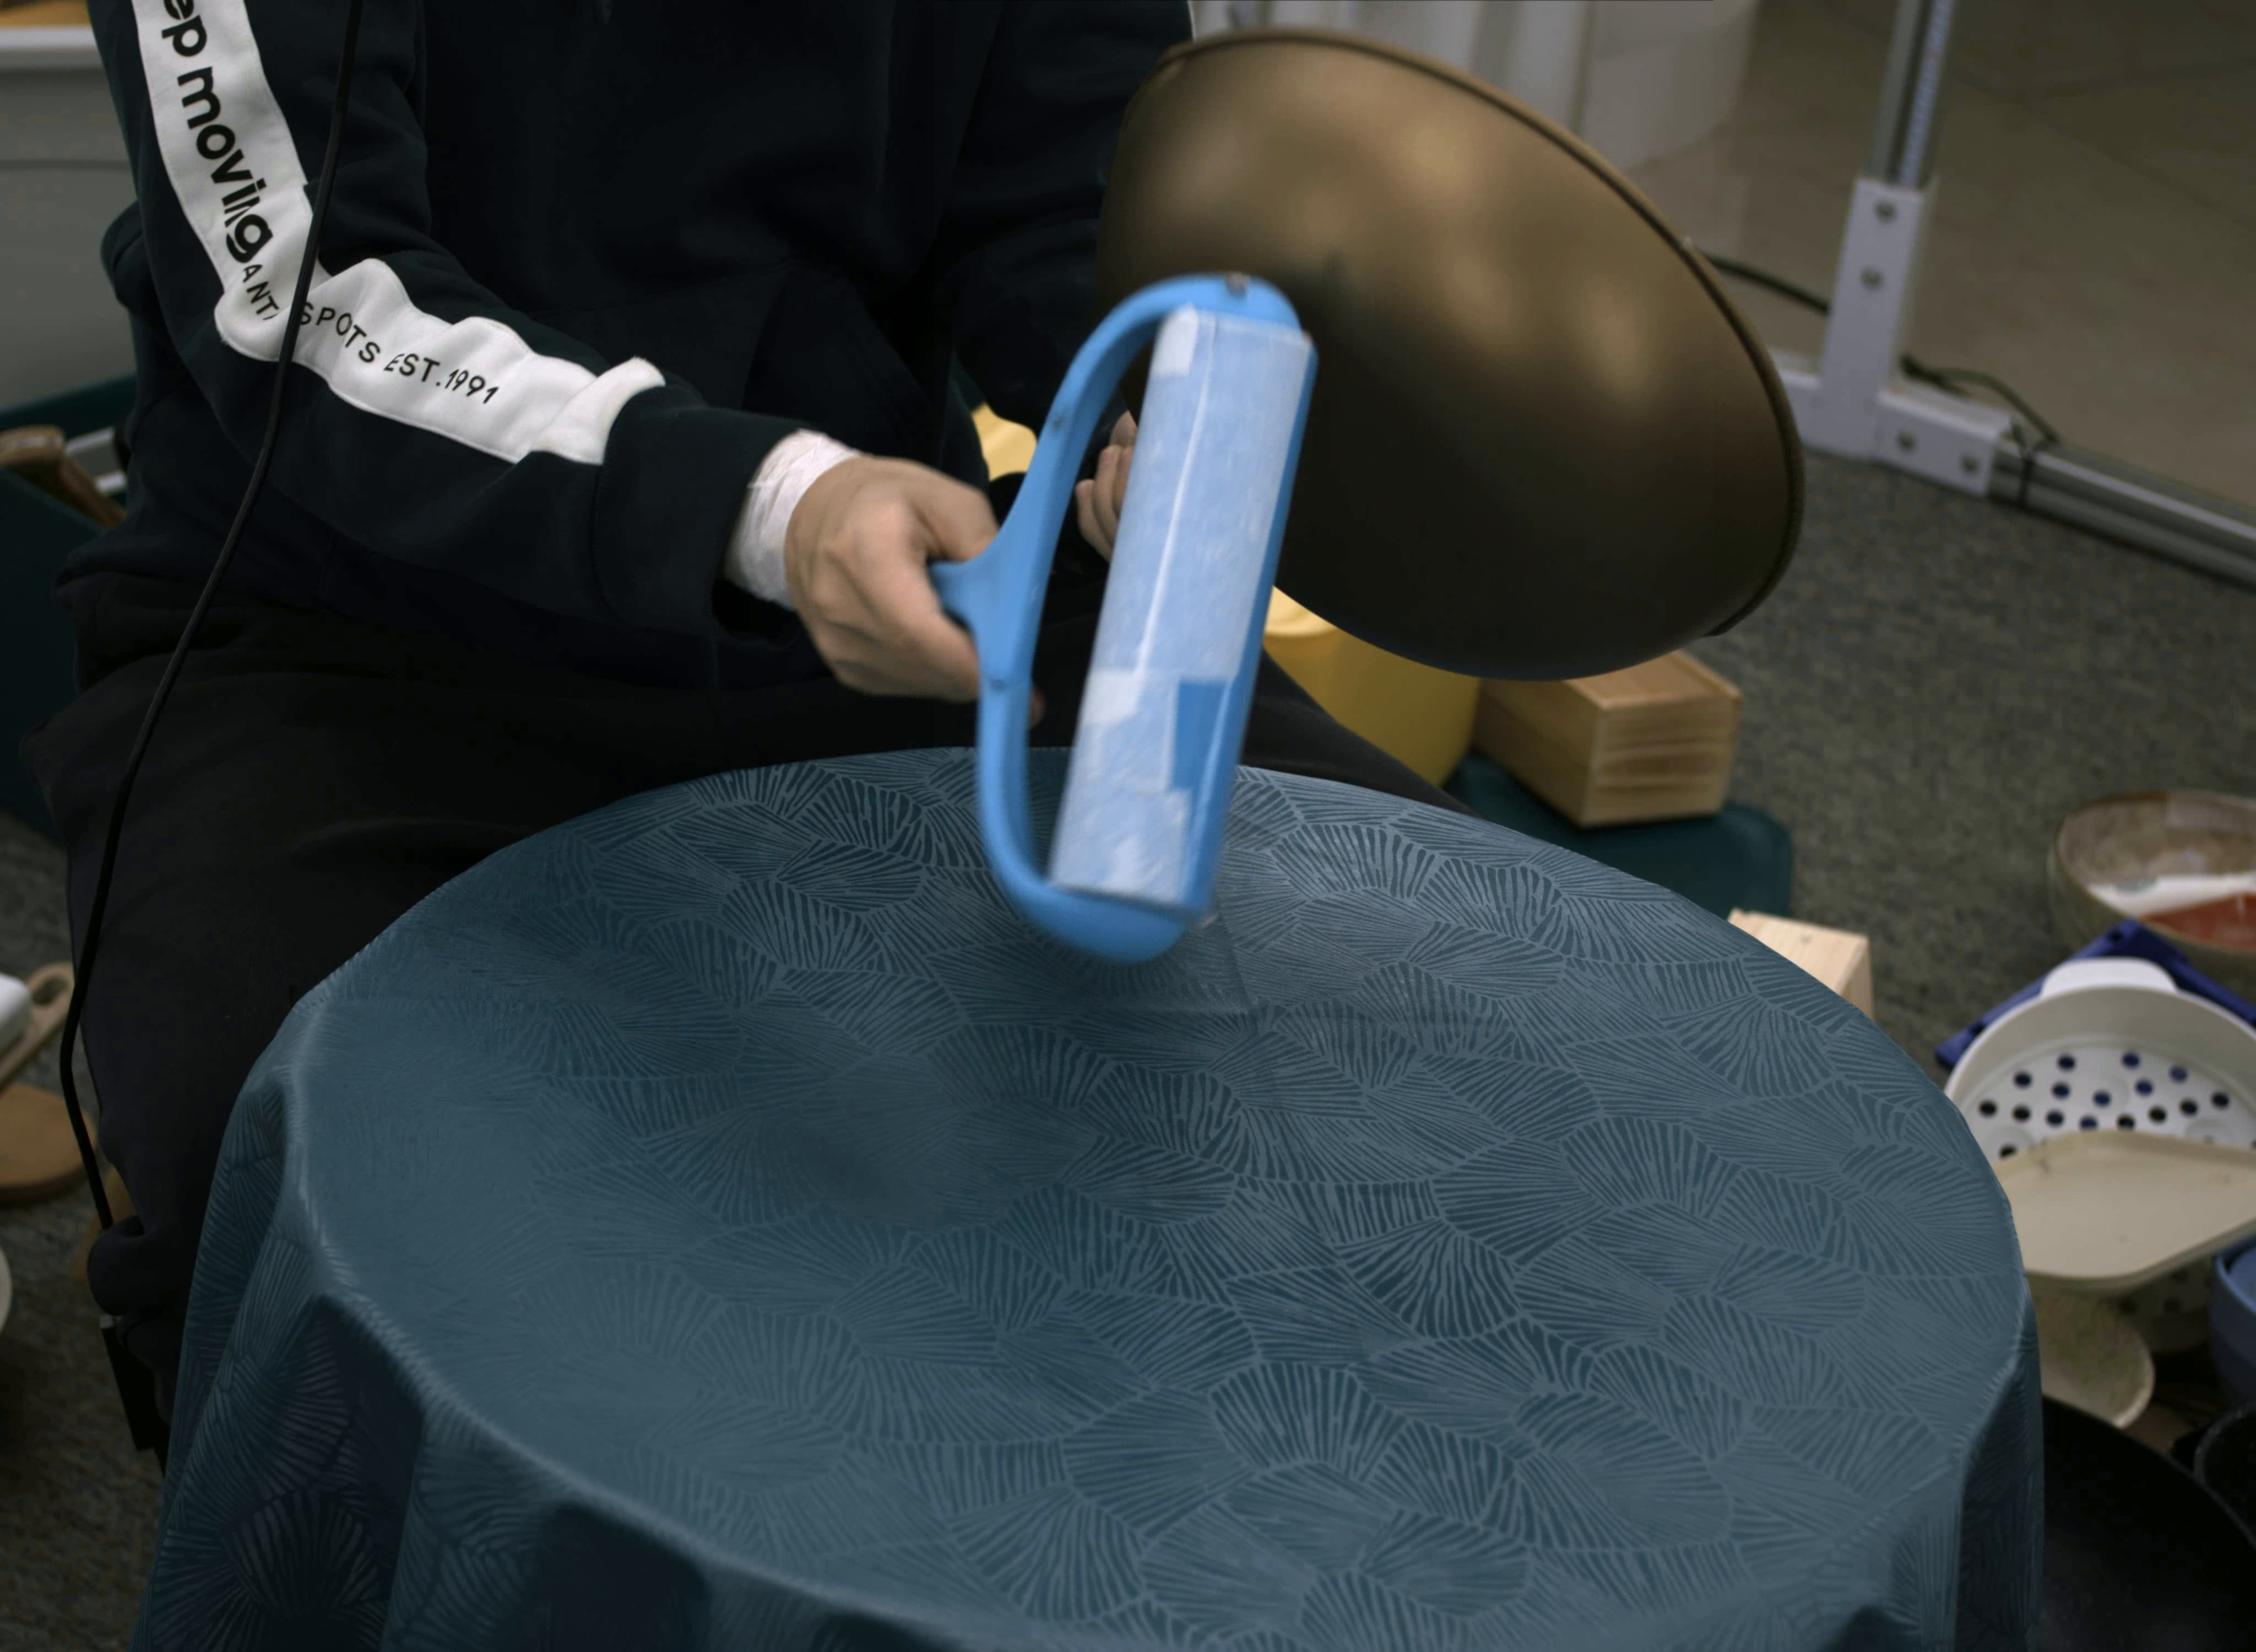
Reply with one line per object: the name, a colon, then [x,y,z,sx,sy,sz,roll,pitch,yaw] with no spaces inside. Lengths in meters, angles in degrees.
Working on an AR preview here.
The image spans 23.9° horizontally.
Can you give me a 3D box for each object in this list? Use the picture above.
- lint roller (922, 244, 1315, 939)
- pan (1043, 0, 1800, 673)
lint roller: [-0.021,-0.076,1.777,0.181,0.230,0.067,-2,-9,42]
pan: [0.048,-0.127,1.921,0.287,0.464,0.087,46,59,-10]
